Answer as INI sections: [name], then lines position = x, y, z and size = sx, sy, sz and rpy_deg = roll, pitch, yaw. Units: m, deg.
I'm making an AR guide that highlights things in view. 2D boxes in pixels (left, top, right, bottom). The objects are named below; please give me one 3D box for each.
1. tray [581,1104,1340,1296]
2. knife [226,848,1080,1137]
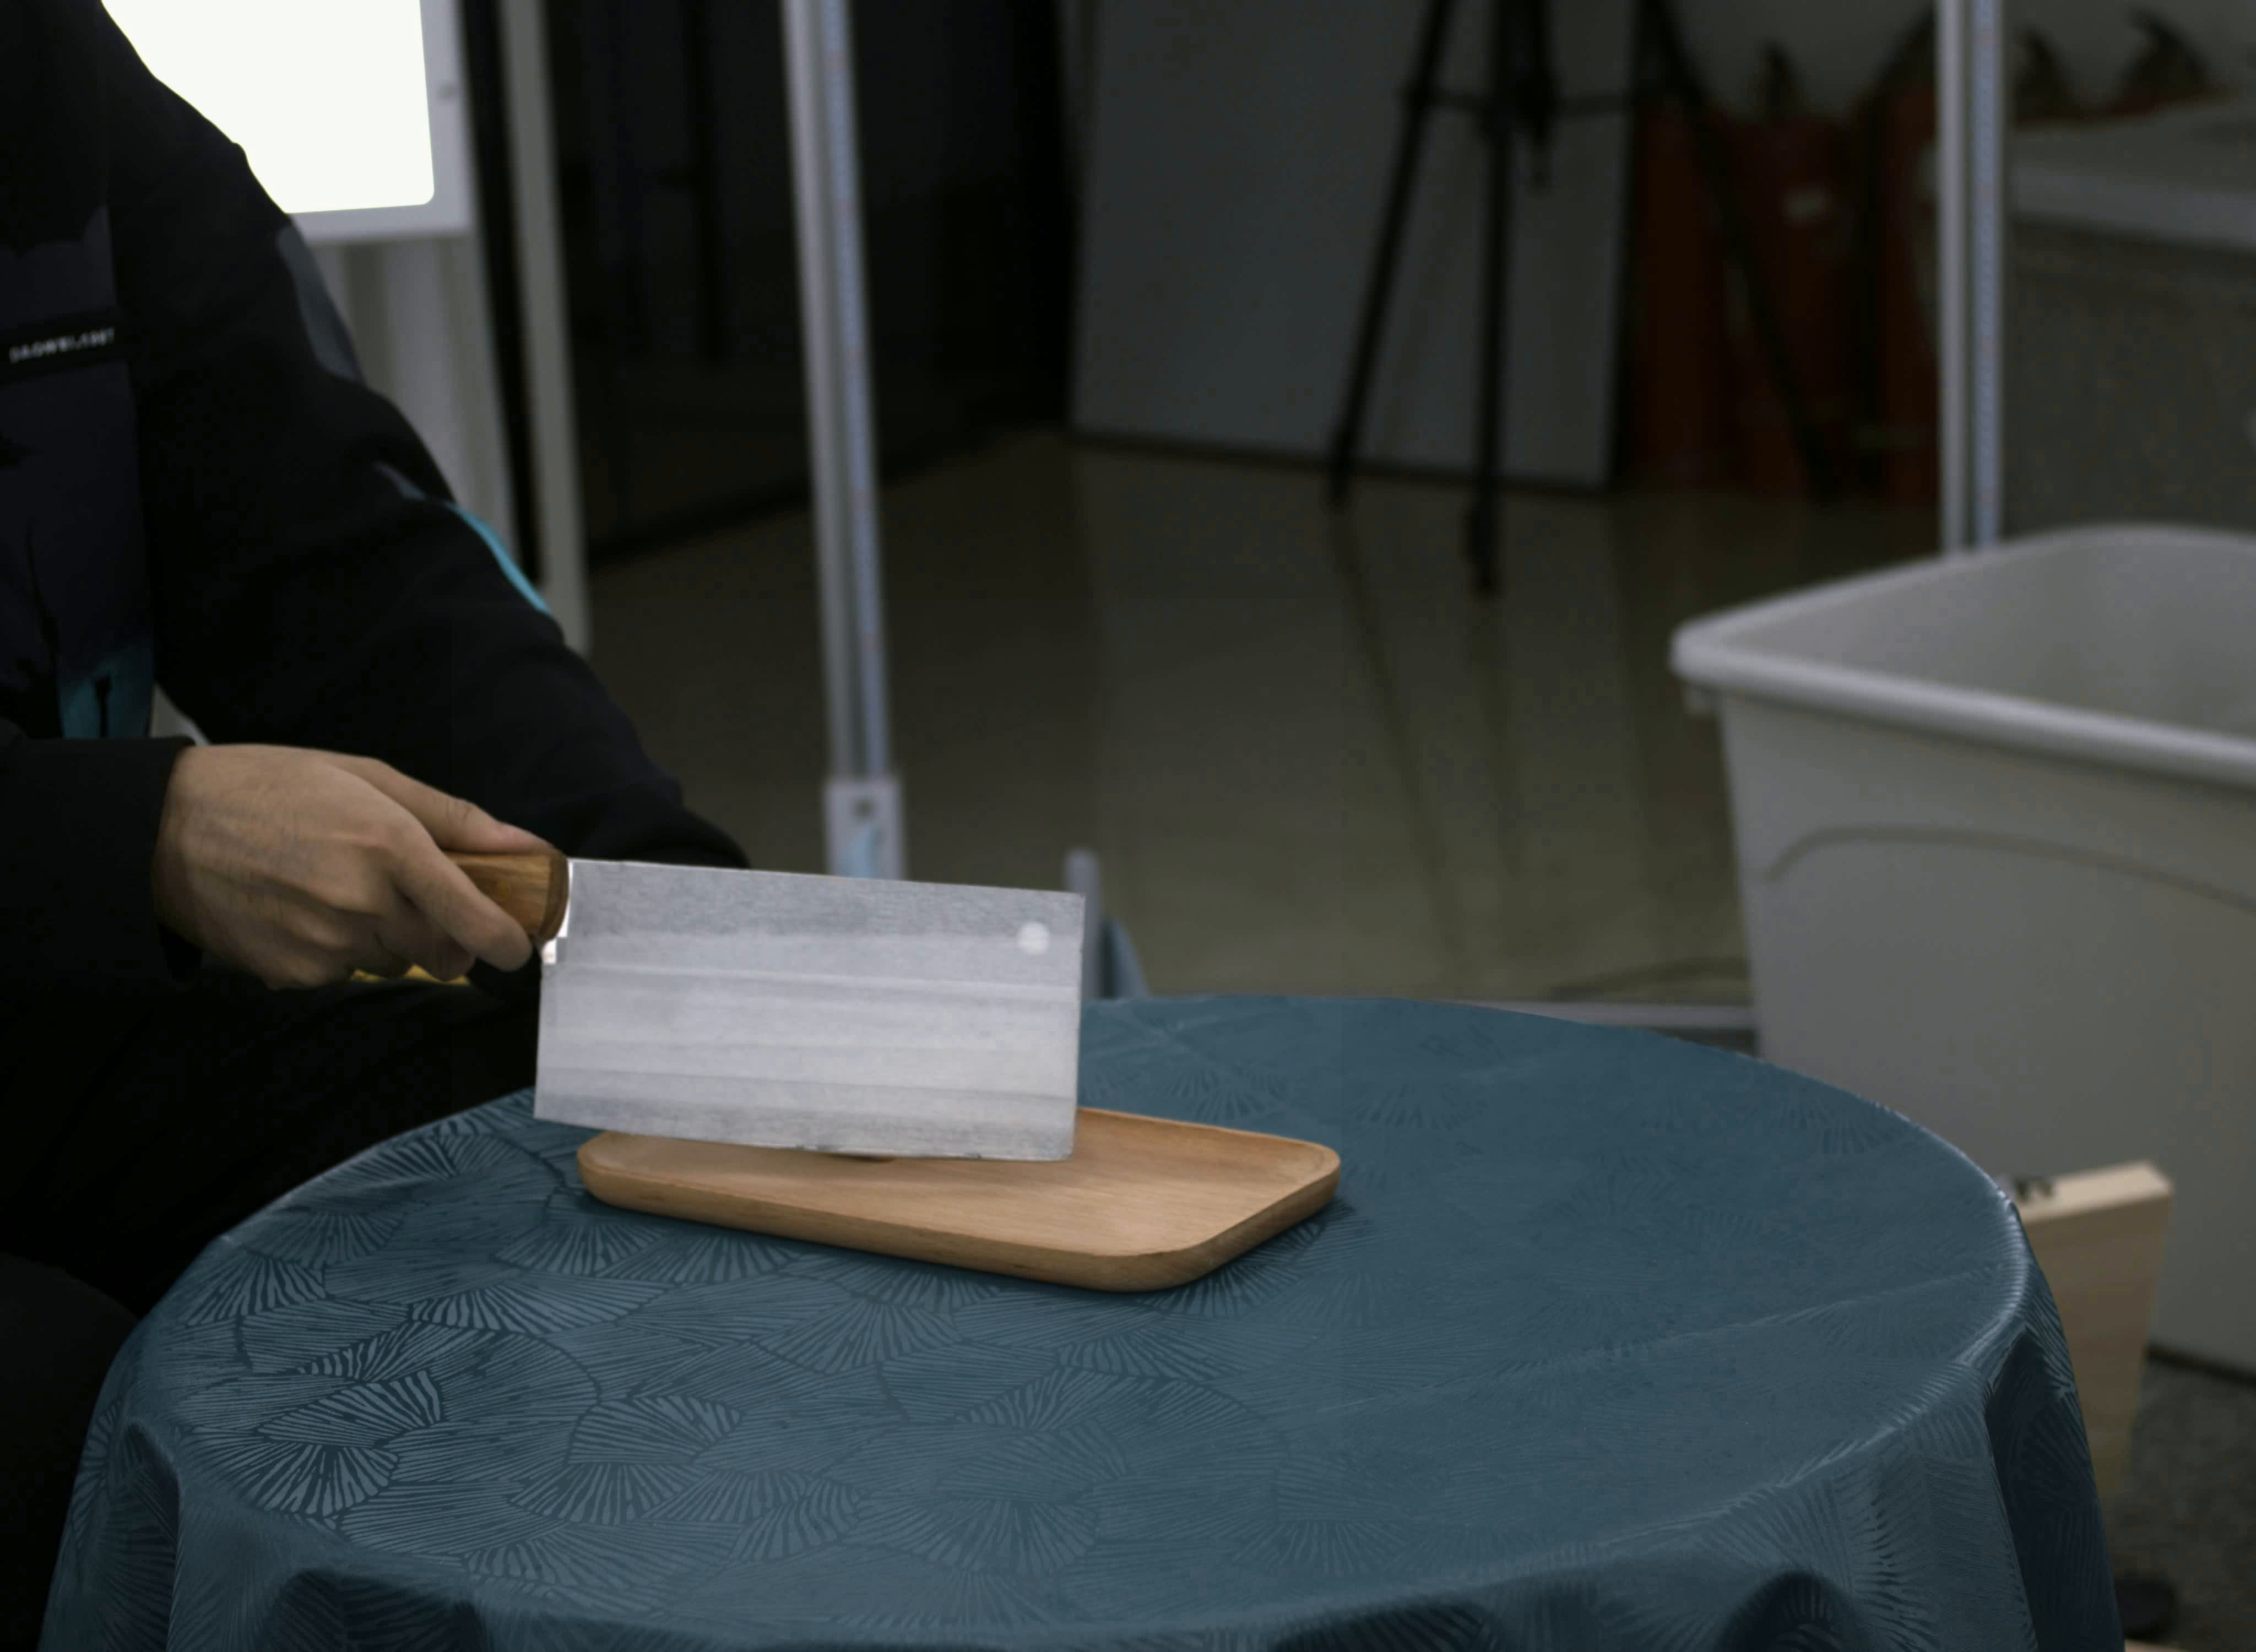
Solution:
[tray]
position = -0.056, 0.116, 1.775
size = 0.252, 0.023, 0.128
rpy_deg = 5, 15, 37
[knife]
position = -0.160, 0.056, 1.790
size = 0.305, 0.094, 0.021
rpy_deg = 3, 4, 18
